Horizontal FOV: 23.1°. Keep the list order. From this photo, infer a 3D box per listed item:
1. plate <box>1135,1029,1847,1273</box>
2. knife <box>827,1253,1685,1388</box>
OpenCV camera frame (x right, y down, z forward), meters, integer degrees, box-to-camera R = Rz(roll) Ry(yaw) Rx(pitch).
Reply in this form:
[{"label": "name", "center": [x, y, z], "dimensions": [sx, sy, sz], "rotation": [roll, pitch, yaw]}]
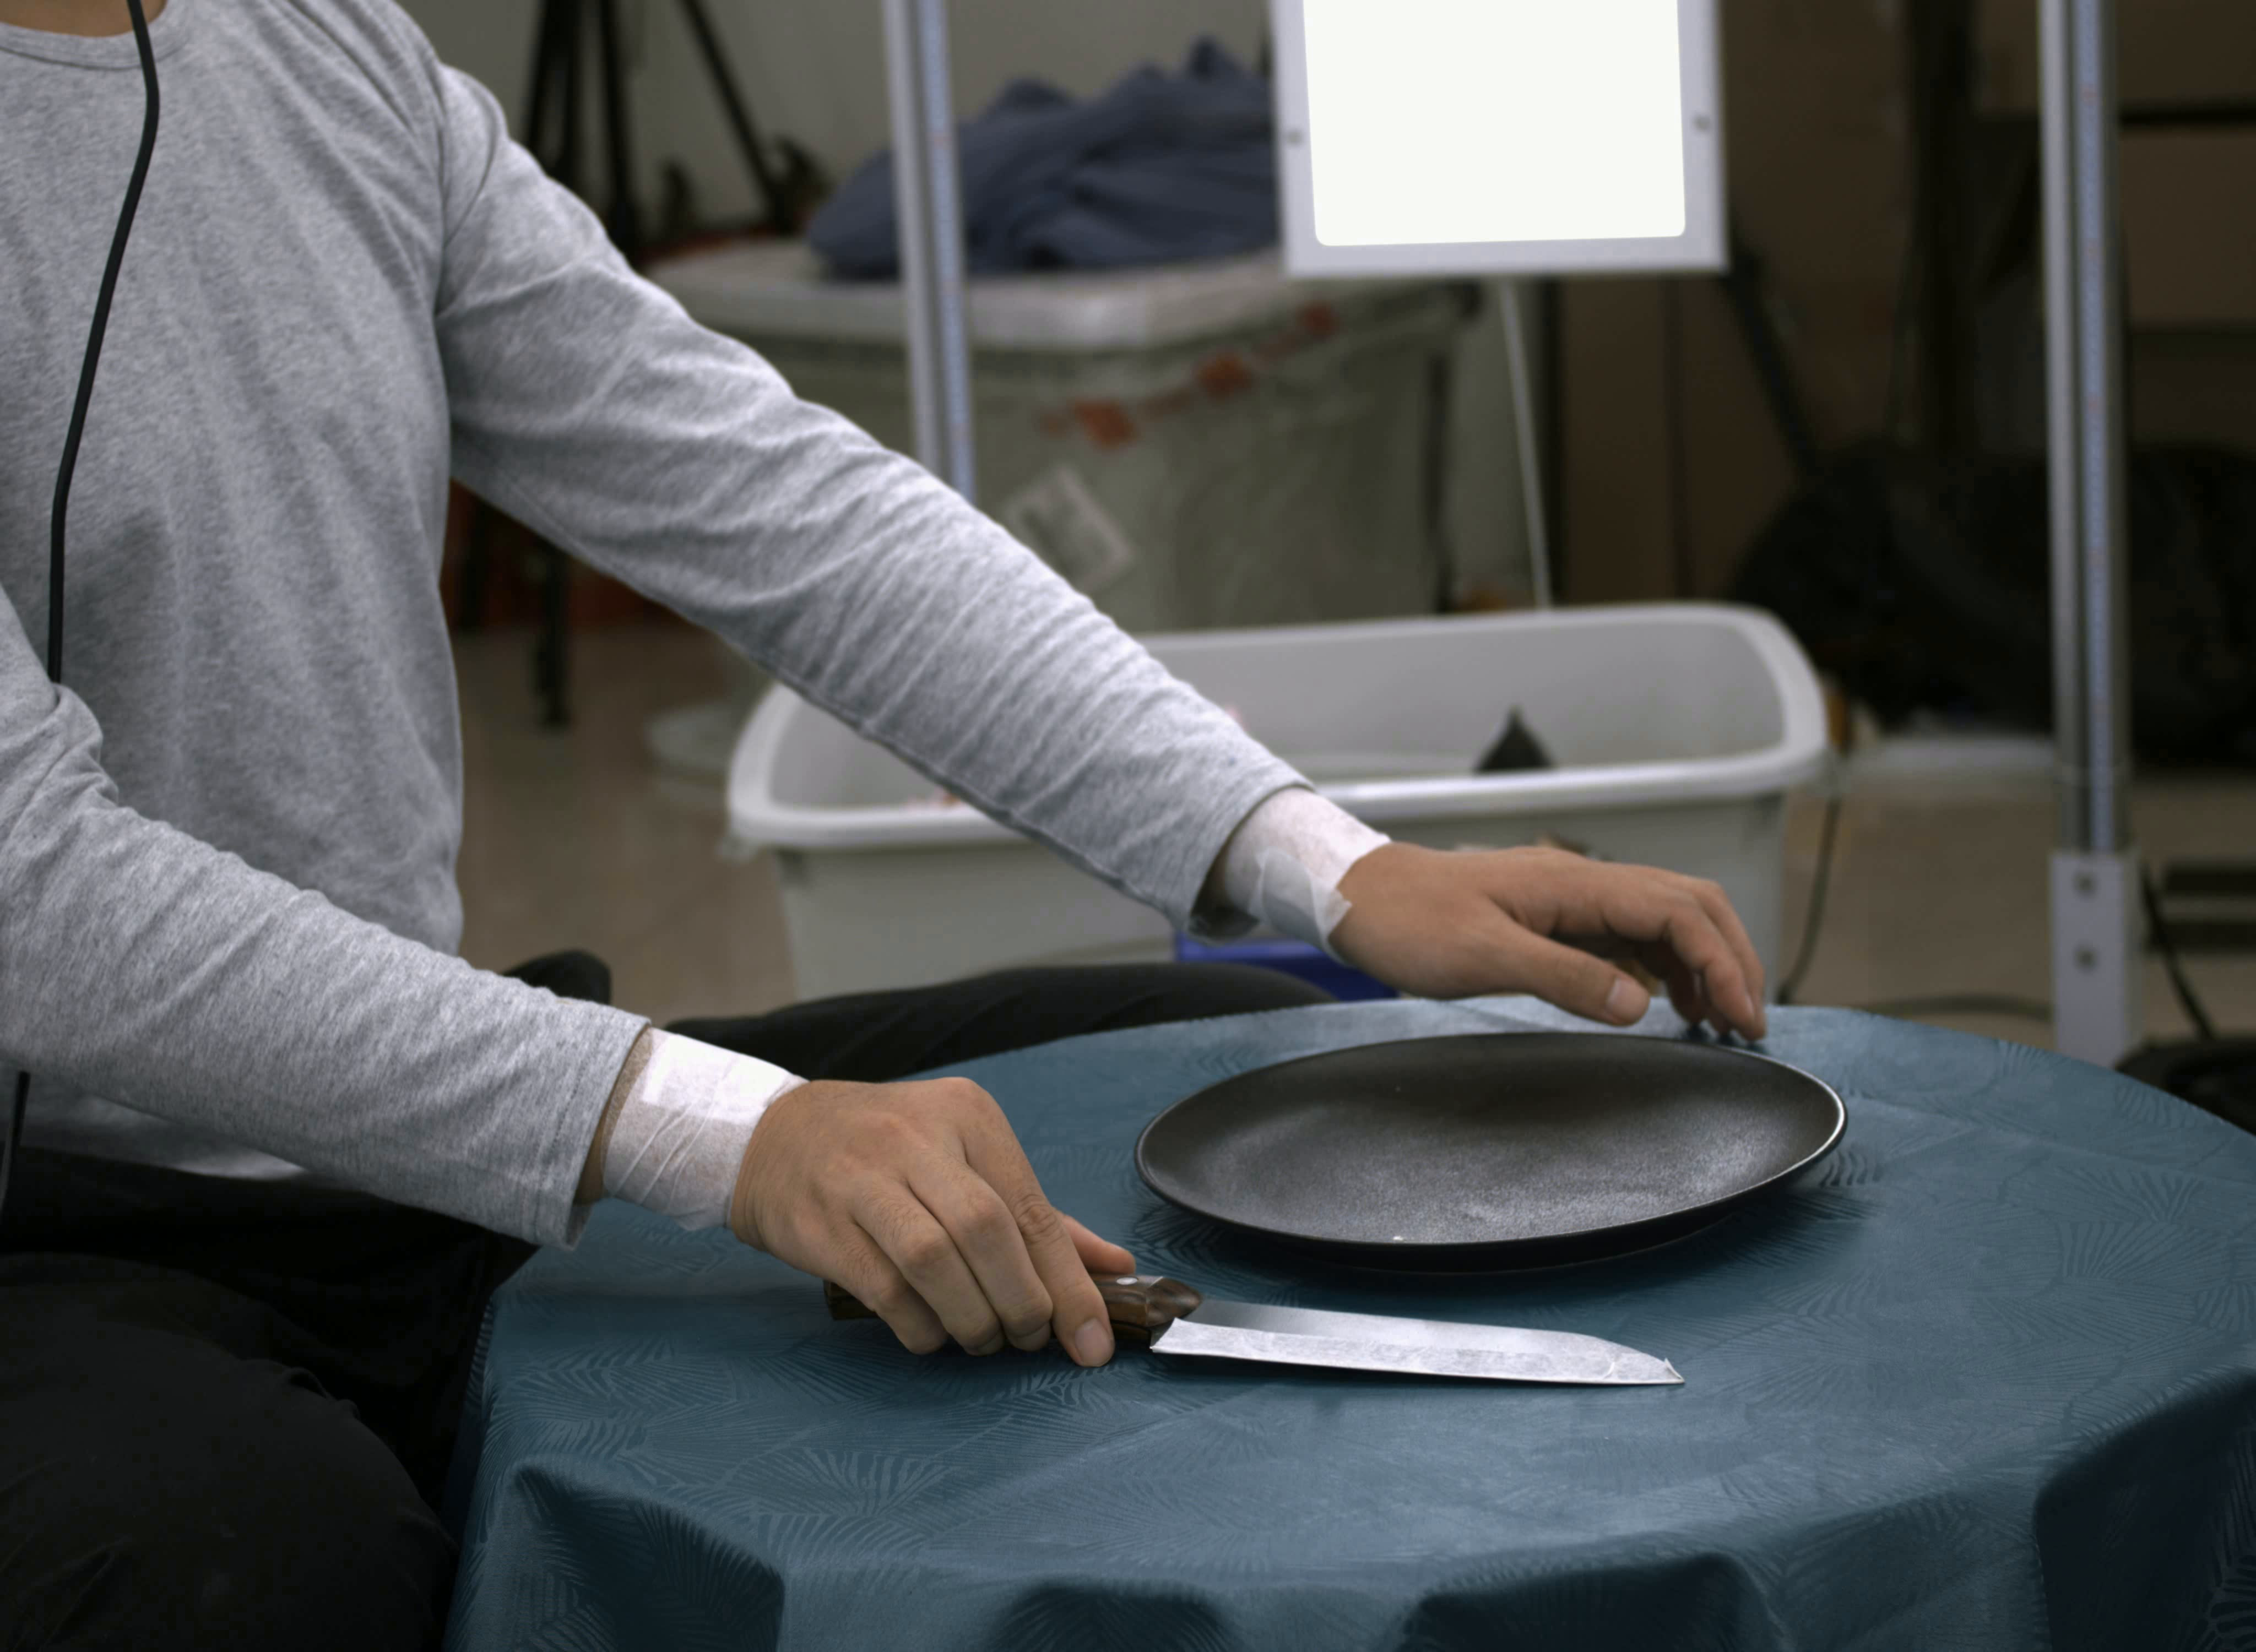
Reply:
[{"label": "plate", "center": [0.123, 0.113, 1.867], "dimensions": [0.244, 0.023, 0.244], "rotation": [-5, 14, 0]}, {"label": "knife", "center": [0.036, 0.157, 1.726], "dimensions": [0.293, 0.020, 0.049], "rotation": [4, 20, 22]}]
